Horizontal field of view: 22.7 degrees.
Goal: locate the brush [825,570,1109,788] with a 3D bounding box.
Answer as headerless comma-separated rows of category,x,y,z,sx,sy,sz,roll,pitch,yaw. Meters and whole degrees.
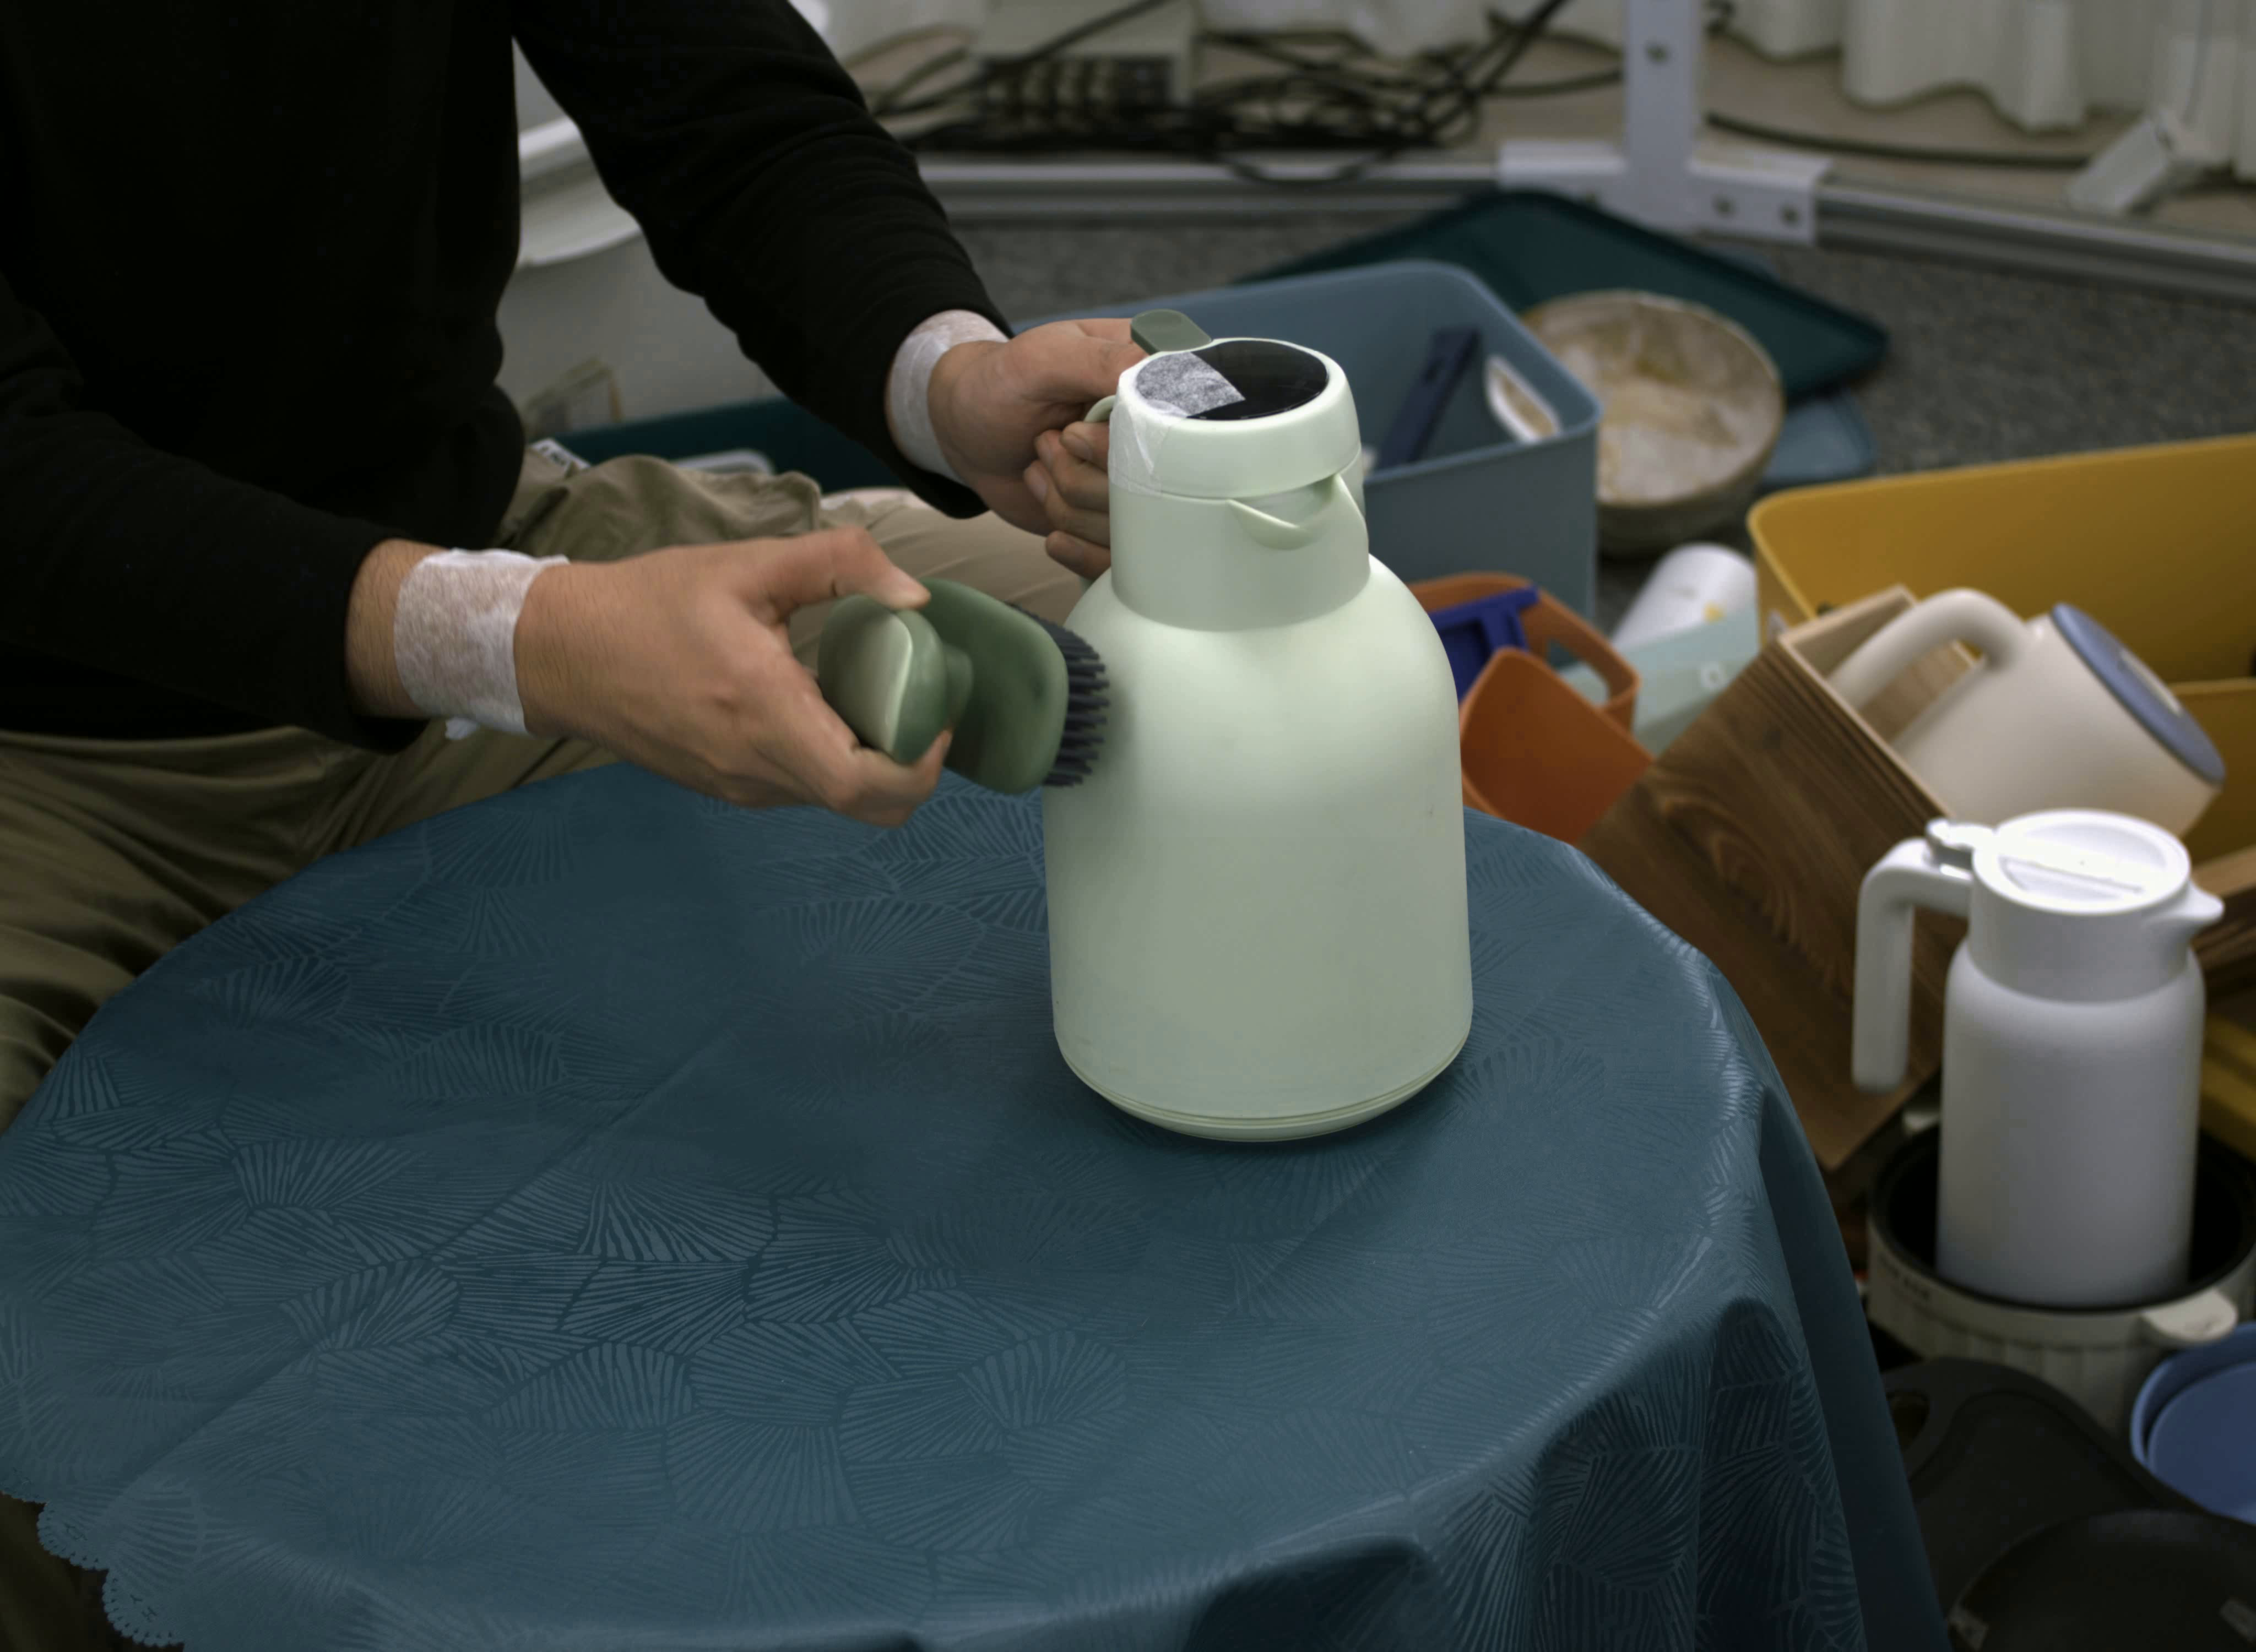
brush,-0.054,-0.049,1.840,0.075,0.059,0.123,7,10,-18

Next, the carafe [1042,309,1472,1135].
carafe,0.034,-0.041,1.896,0.145,0.254,0.188,-14,26,-20
